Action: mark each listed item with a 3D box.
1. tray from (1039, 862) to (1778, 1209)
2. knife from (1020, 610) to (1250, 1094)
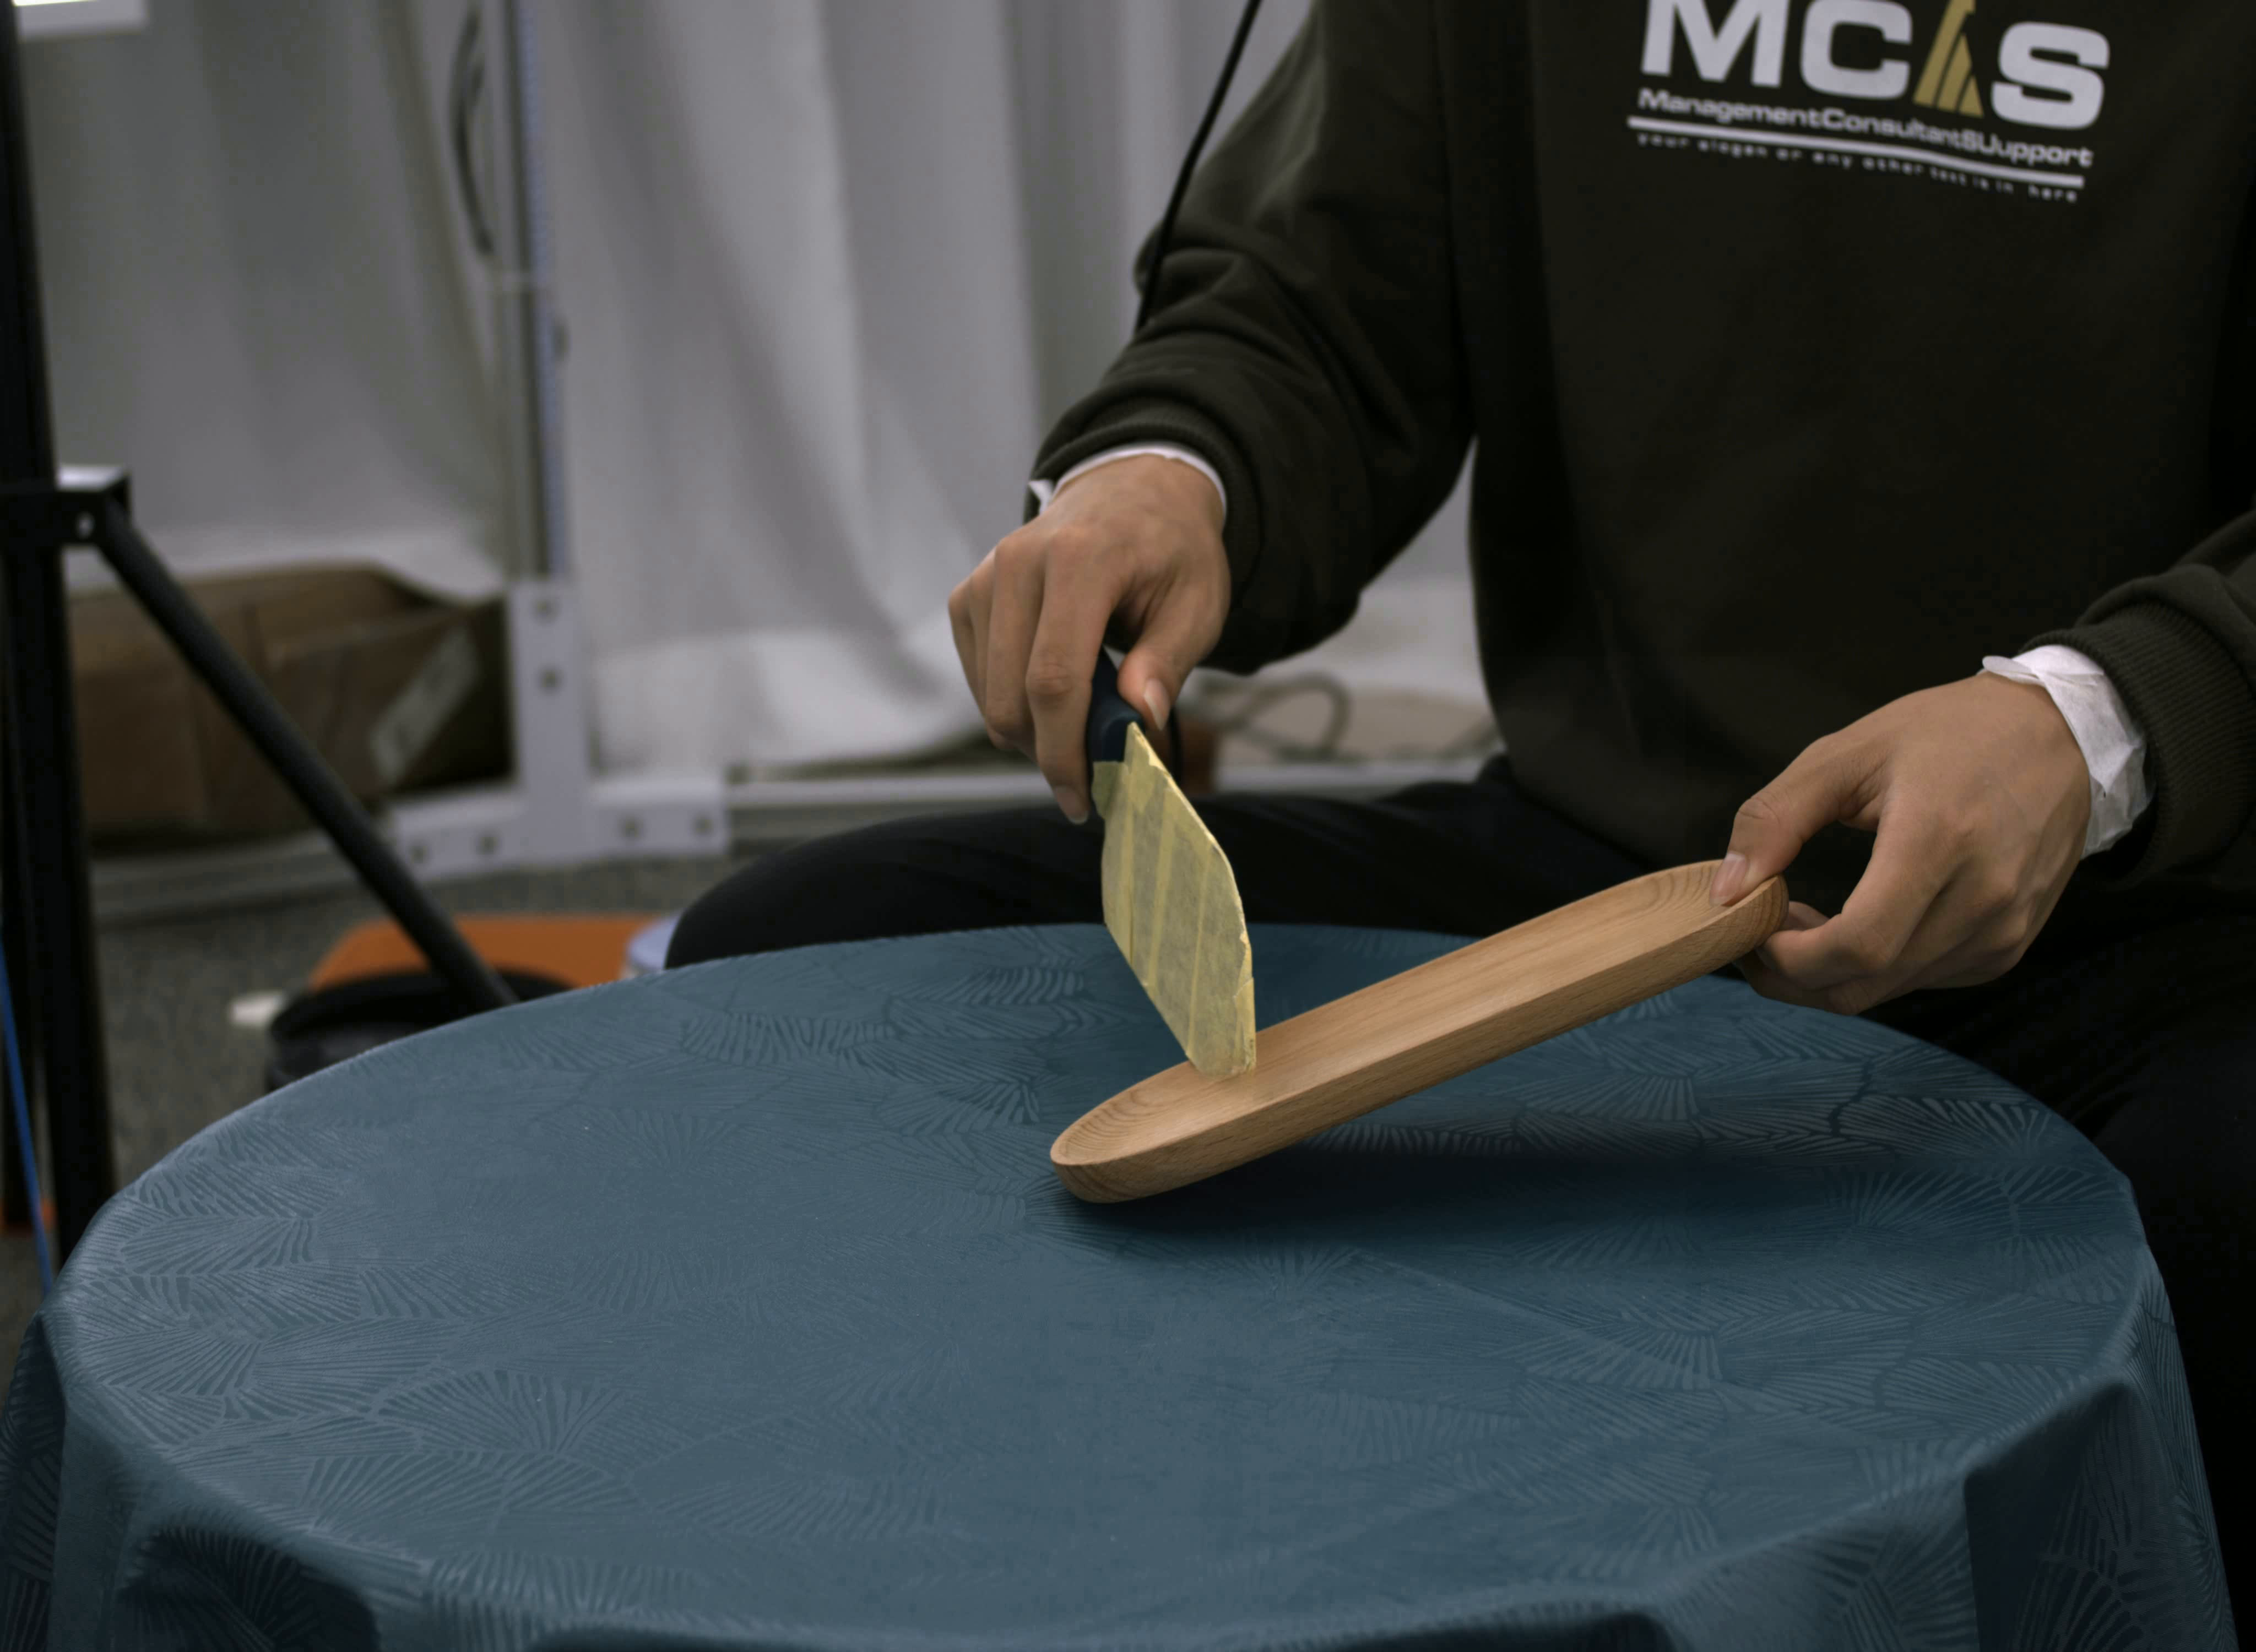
[{"bbox_3d":[0.083,0.062,1.556,0.230,0.020,0.102,-23,8,-1],"label":"tray"},{"bbox_3d":[0.003,0.003,1.665,0.027,0.081,0.294,3,24,-15],"label":"knife"}]
